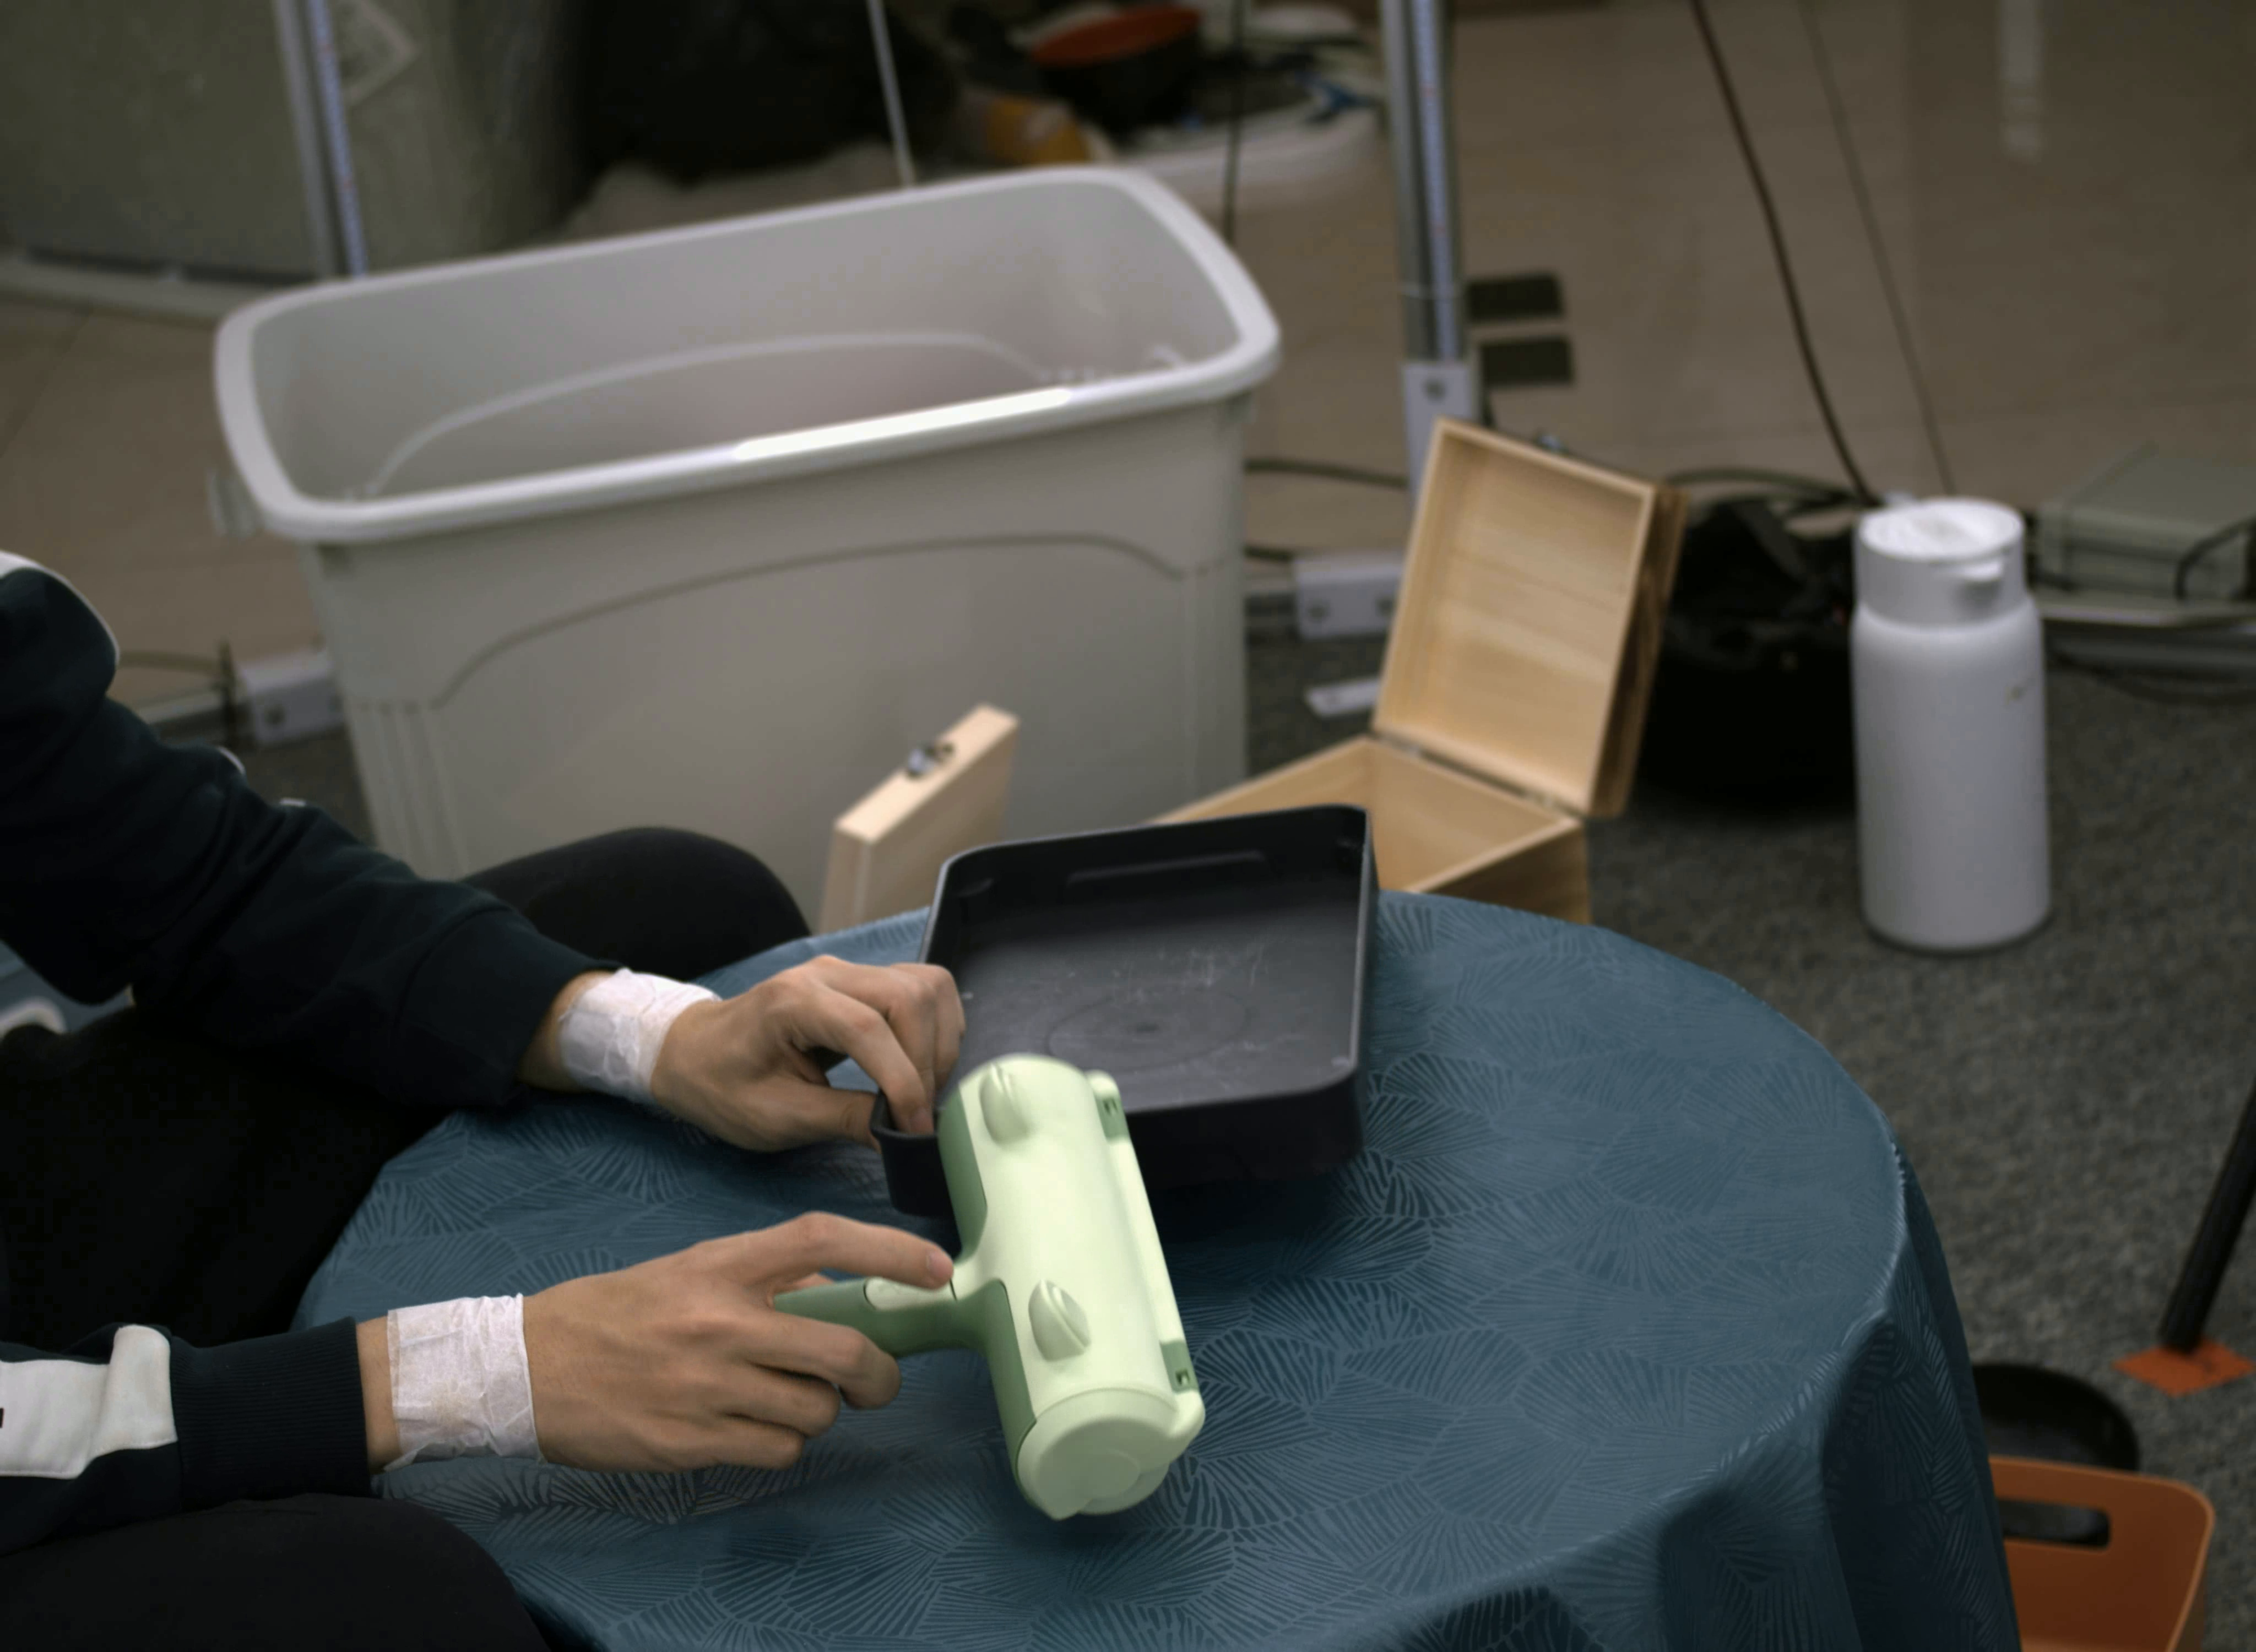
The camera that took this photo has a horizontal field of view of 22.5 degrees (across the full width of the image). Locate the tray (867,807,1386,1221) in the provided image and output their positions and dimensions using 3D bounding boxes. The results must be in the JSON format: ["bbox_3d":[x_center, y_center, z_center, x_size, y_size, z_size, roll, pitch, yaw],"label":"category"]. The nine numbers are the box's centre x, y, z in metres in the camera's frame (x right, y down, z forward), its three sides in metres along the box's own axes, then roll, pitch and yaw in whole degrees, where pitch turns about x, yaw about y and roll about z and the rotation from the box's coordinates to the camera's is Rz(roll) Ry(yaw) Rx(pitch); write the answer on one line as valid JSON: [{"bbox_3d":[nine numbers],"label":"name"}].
[{"bbox_3d":[0.006,0.069,2.209,0.184,0.037,0.314,-6,20,7],"label":"tray"}]

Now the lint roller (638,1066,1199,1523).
[{"bbox_3d":[-0.080,0.159,1.960,0.183,0.084,0.195,-5,37,-7],"label":"lint roller"}]
